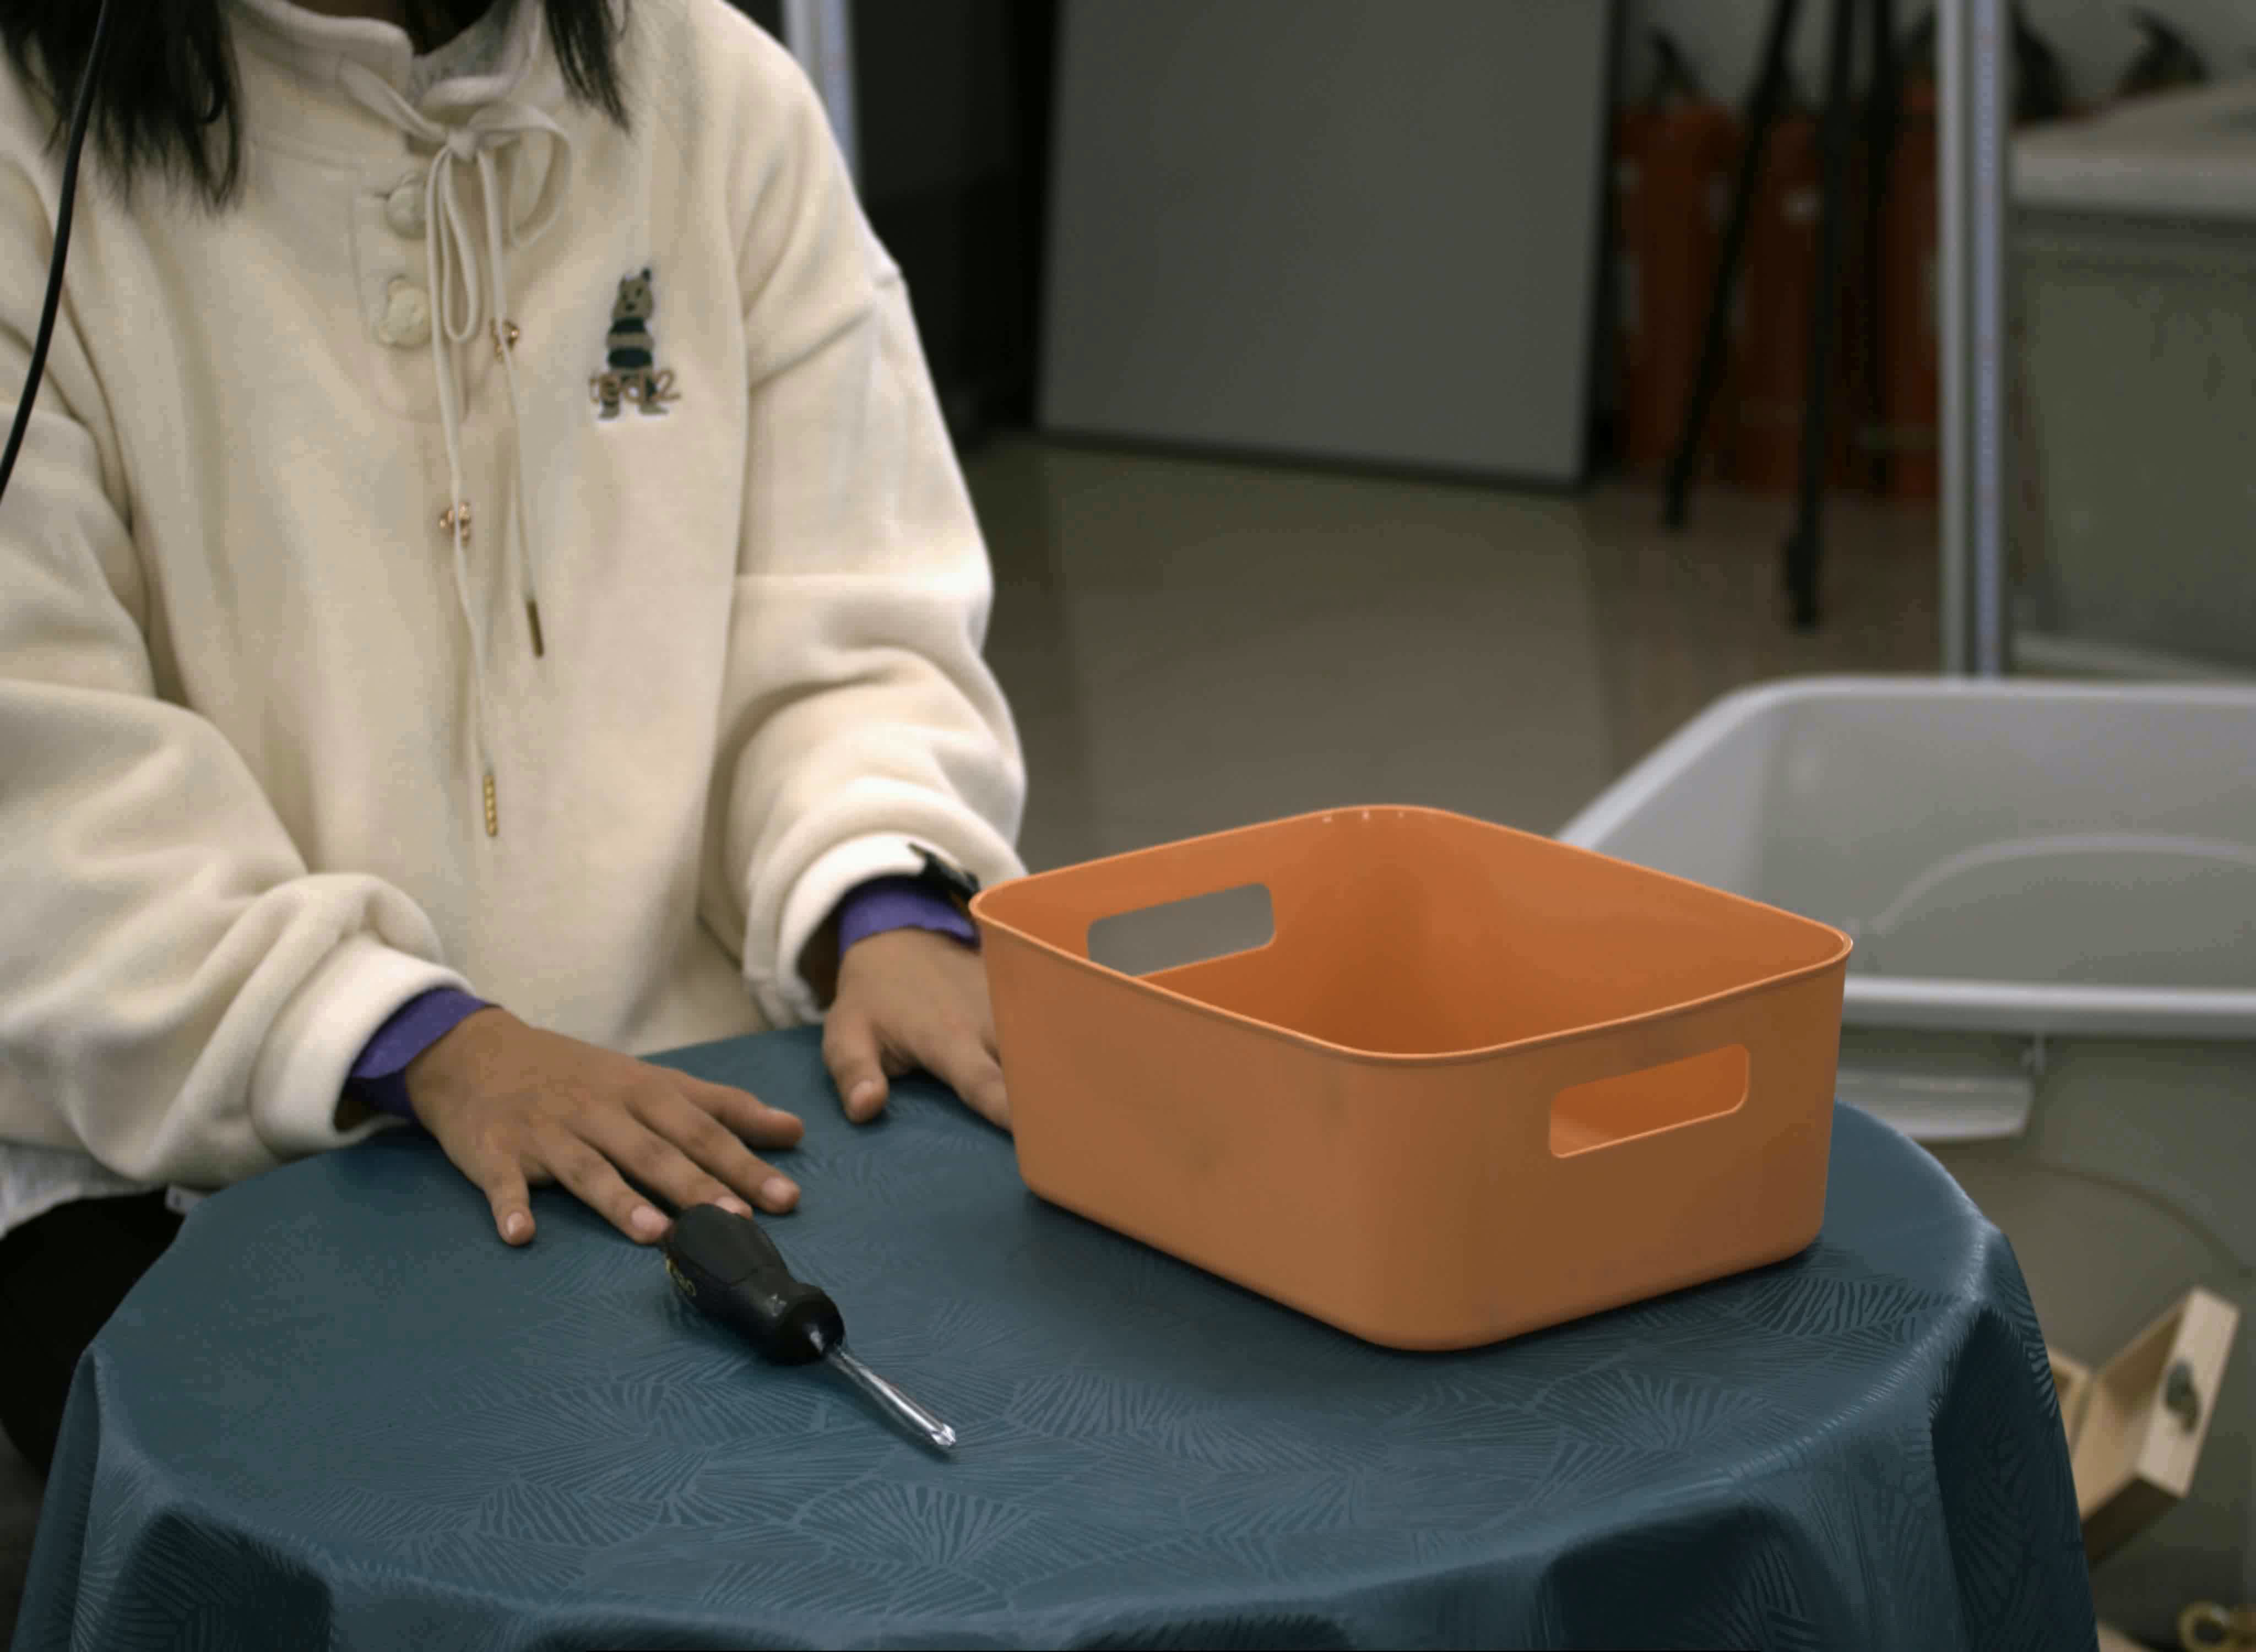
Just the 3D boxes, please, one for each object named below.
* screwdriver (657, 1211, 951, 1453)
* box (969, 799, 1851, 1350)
[{"bbox_3d":[-0.098,0.156,1.621,0.031,0.032,0.198,-9,19,-23],"label":"screwdriver"},{"bbox_3d":[0.089,0.075,1.709,0.195,0.103,0.276,-13,16,-30],"label":"box"}]
